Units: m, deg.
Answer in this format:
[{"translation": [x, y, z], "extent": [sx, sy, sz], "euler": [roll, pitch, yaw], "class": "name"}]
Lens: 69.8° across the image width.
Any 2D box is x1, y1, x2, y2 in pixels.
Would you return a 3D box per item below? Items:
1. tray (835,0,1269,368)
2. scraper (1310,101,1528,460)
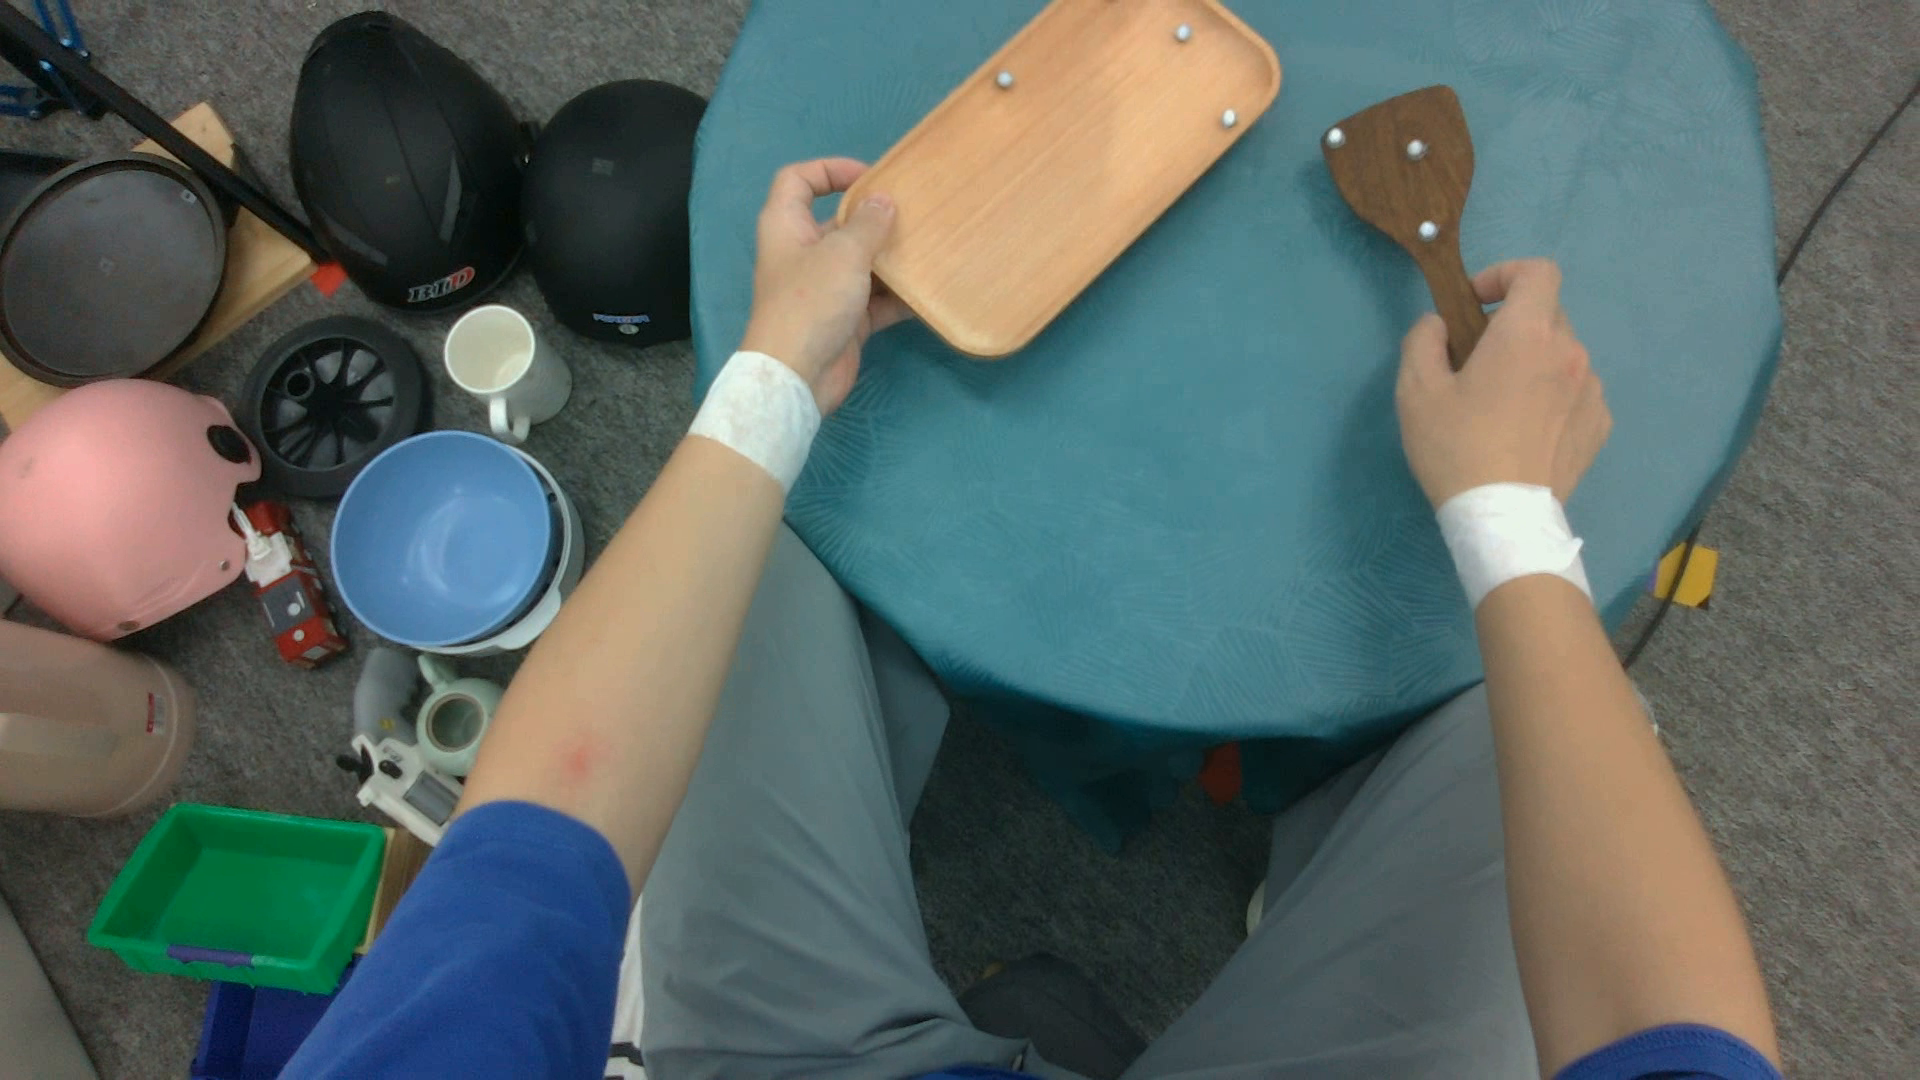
[{"translation": [0.053, -0.207, 0.758], "extent": [0.130, 0.023, 0.251], "euler": [43, 77, 11], "class": "tray"}, {"translation": [0.250, -0.138, 0.726], "extent": [0.076, 0.011, 0.212], "euler": [-17, 67, 11], "class": "scraper"}]
